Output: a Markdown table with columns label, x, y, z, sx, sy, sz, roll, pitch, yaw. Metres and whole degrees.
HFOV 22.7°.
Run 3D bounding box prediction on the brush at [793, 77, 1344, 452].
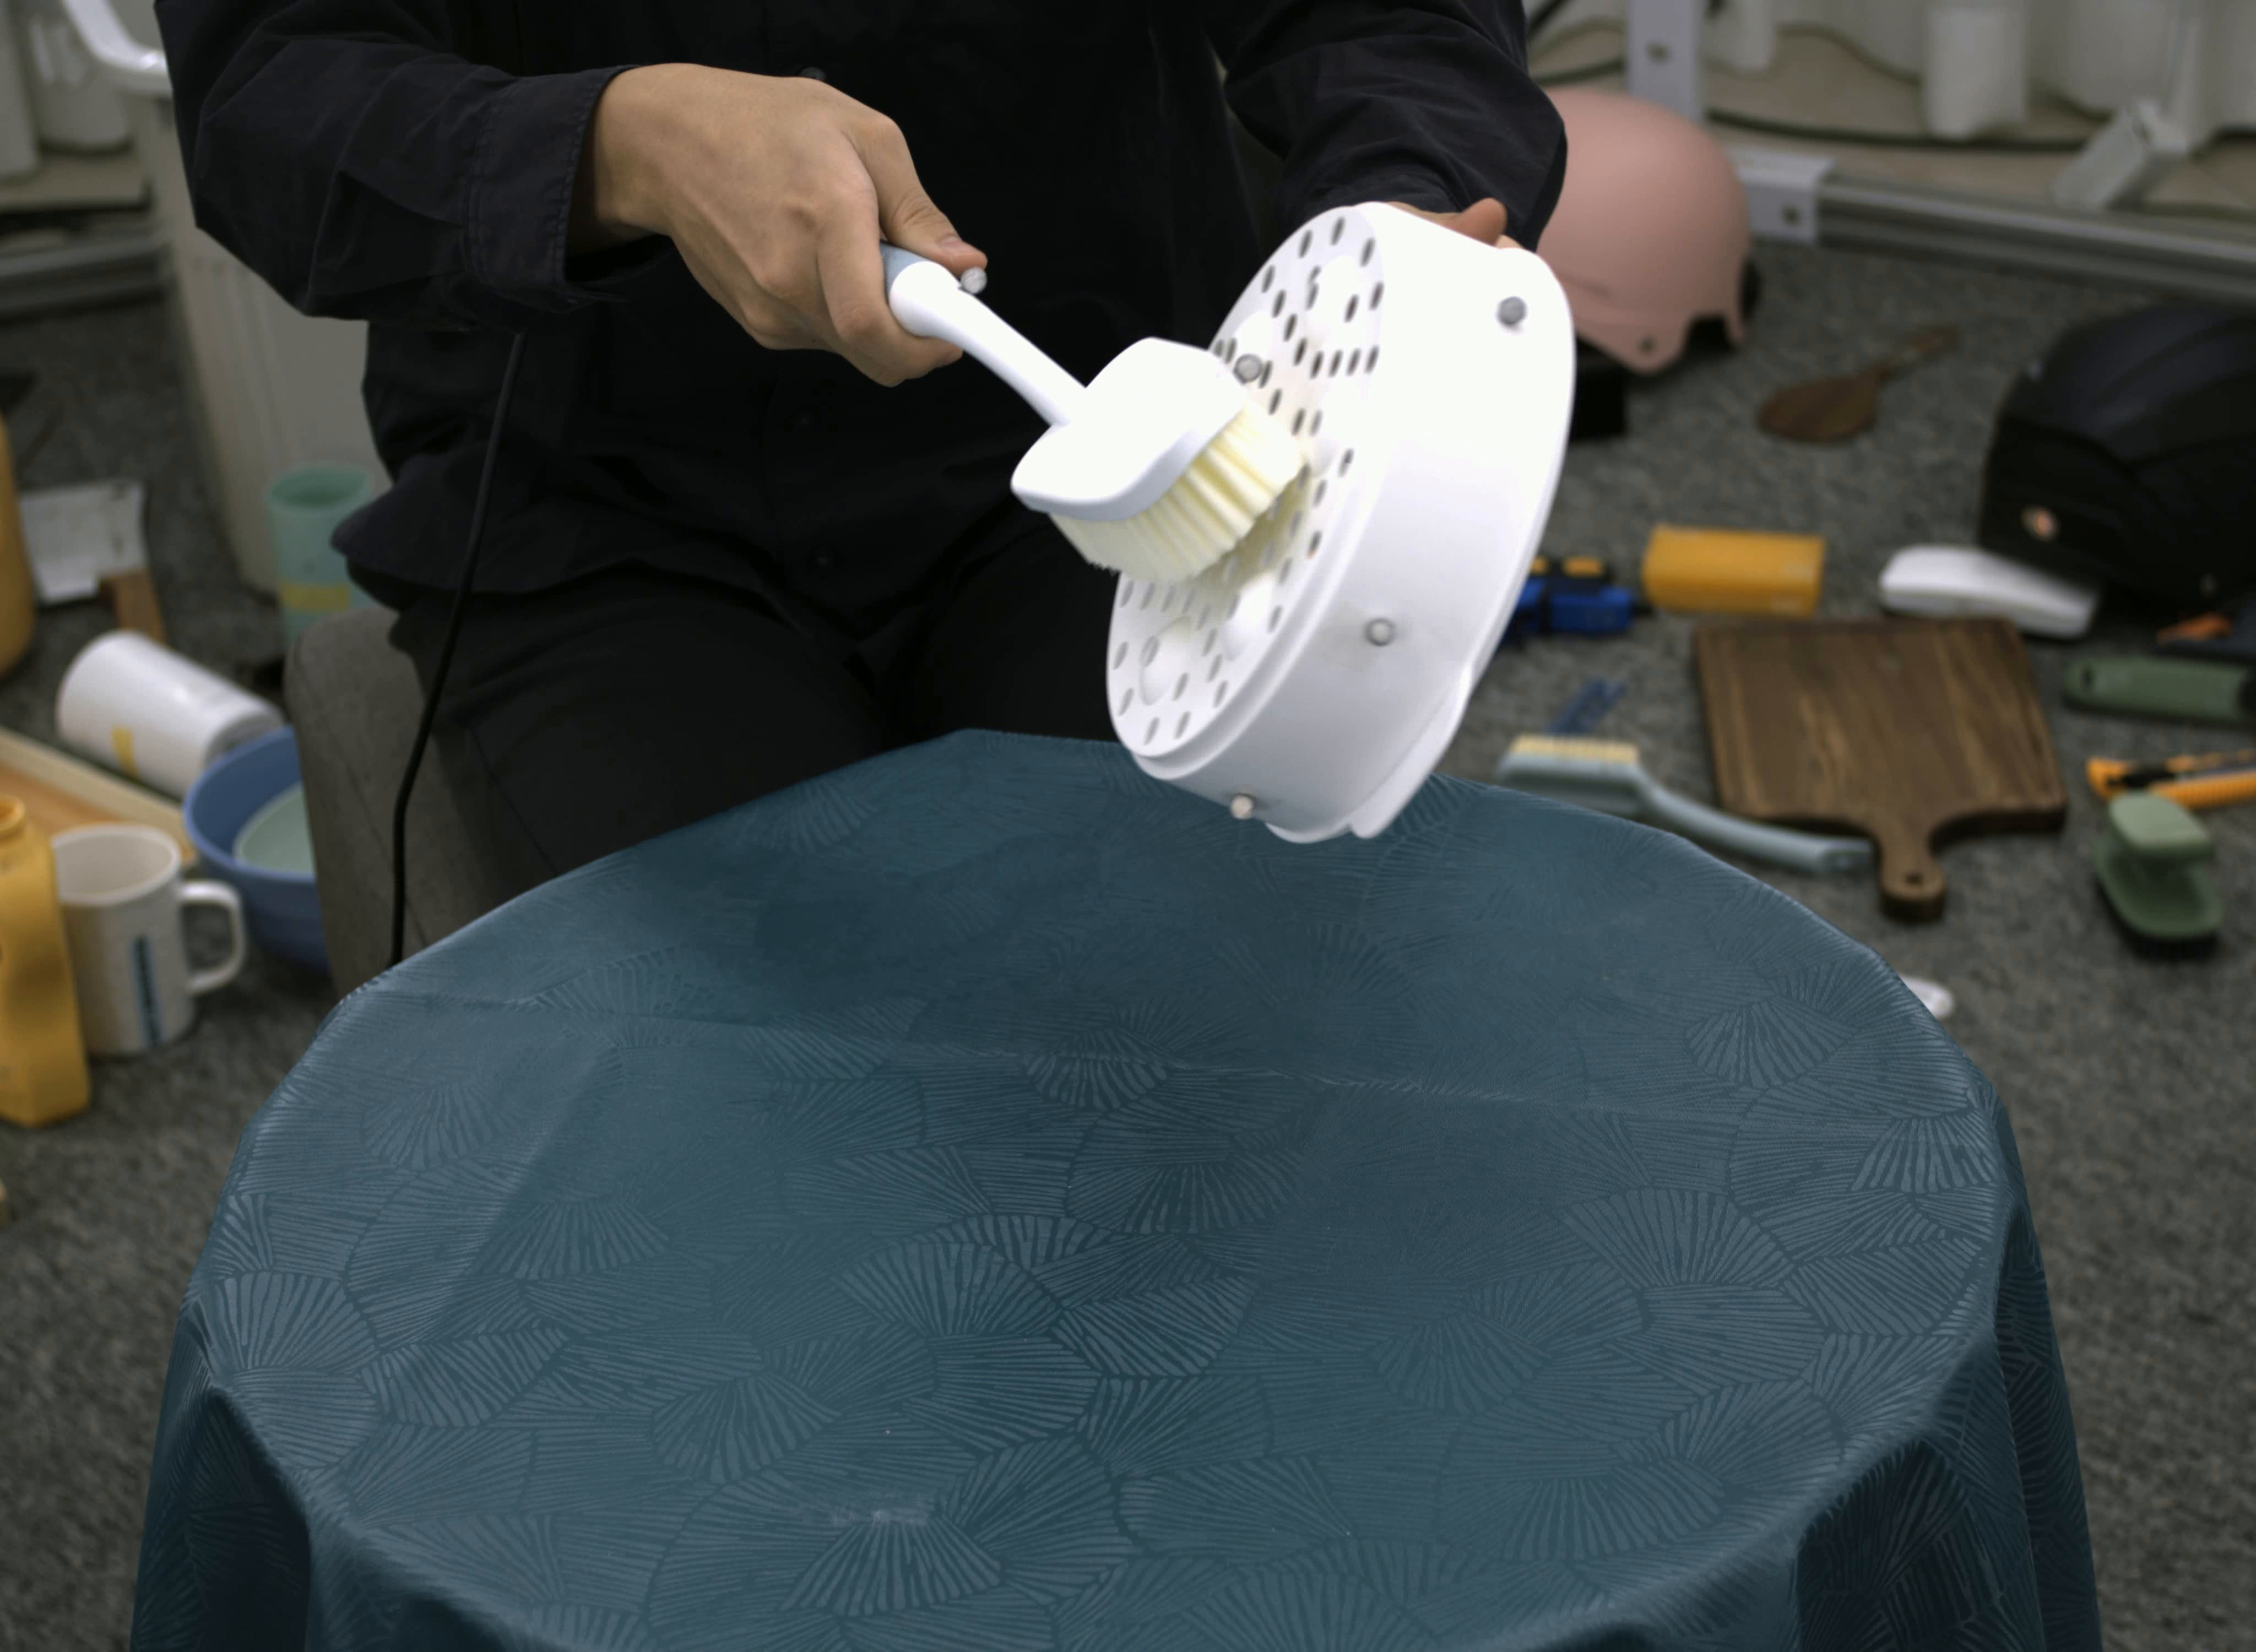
| label | x | y | z | sx | sy | sz | roll | pitch | yaw |
| --- | --- | --- | --- | --- | --- | --- | --- | --- | --- |
| brush | -0.015 | -0.184 | 1.856 | 0.083 | 0.084 | 0.326 | -11 | 21 | -25 |

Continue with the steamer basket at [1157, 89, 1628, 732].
| label | x | y | z | sx | sy | sz | roll | pitch | yaw |
| --- | --- | --- | --- | --- | --- | --- | --- | --- | --- |
| steamer basket | 0.078 | -0.134 | 1.784 | 0.069 | 0.198 | 0.235 | 21 | 39 | -19 |
